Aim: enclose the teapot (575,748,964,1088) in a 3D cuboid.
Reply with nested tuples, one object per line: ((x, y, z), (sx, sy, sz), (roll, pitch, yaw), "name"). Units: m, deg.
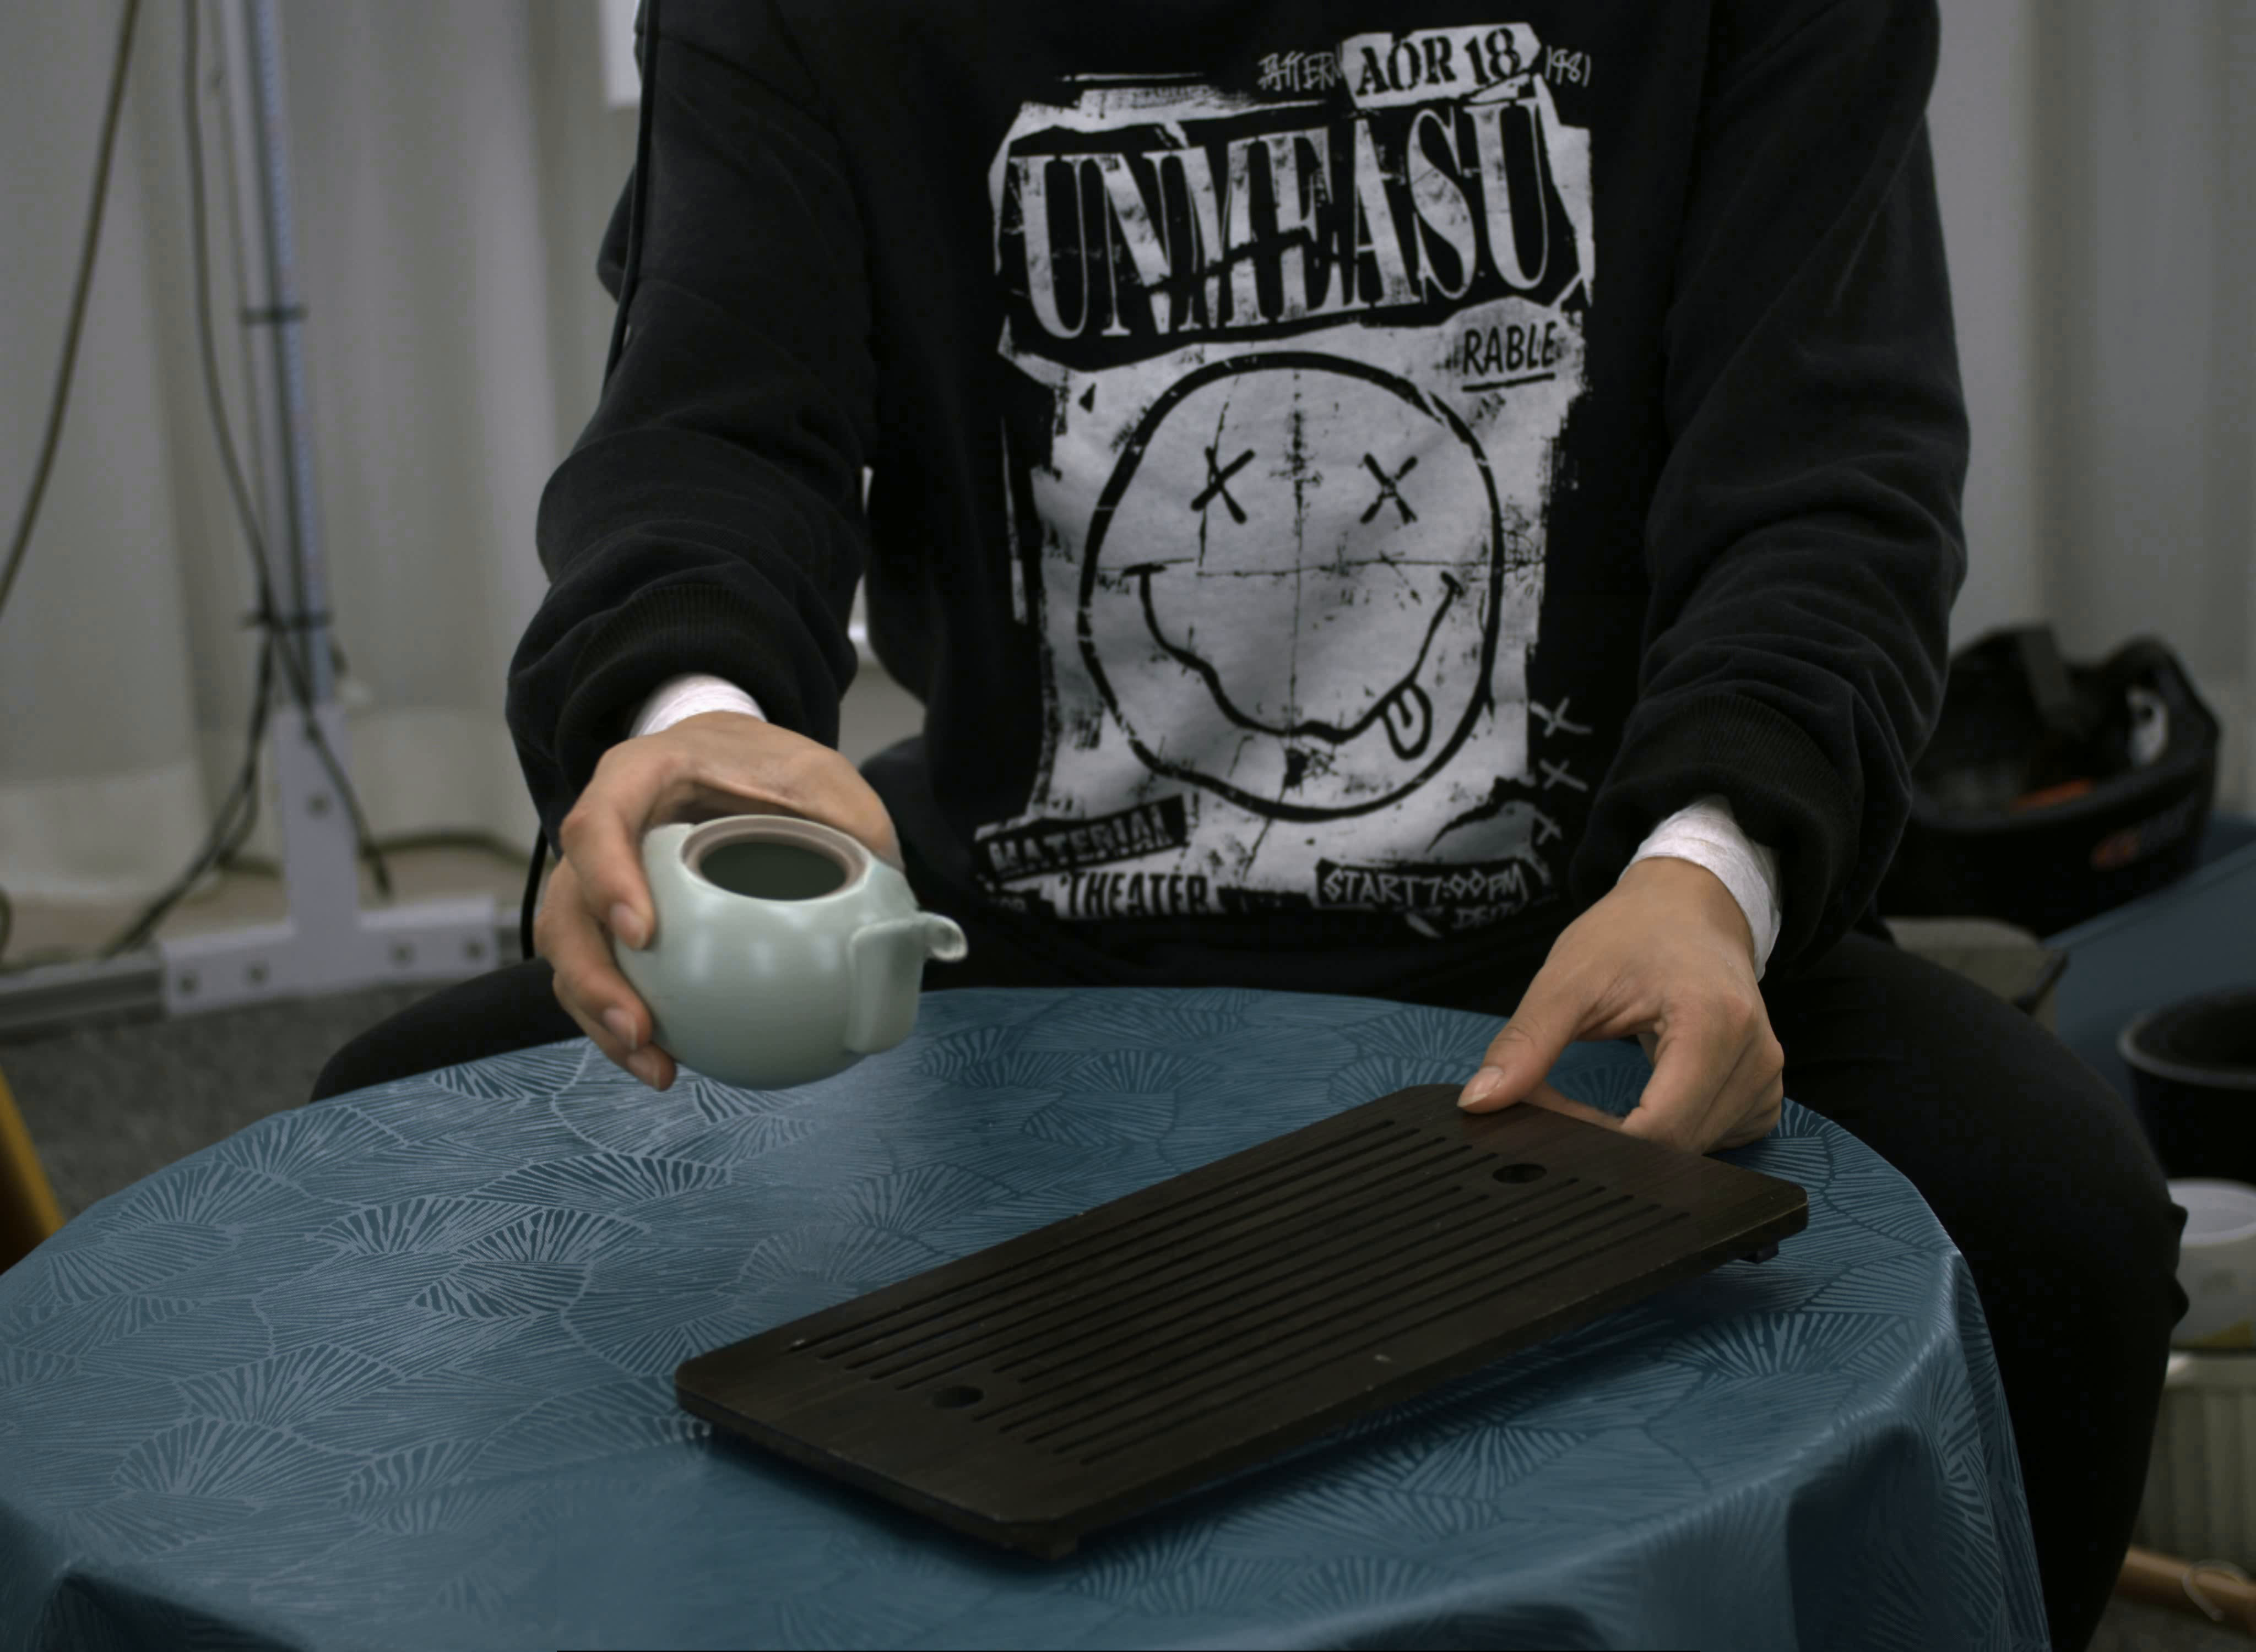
((-0.107, 0.034, 1.595), (0.145, 0.074, 0.088), (28, 32, 33), "teapot")

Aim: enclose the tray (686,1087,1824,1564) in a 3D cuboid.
((0.040, 0.139, 1.558), (0.305, 0.018, 0.171), (-17, 20, -37), "tray")
